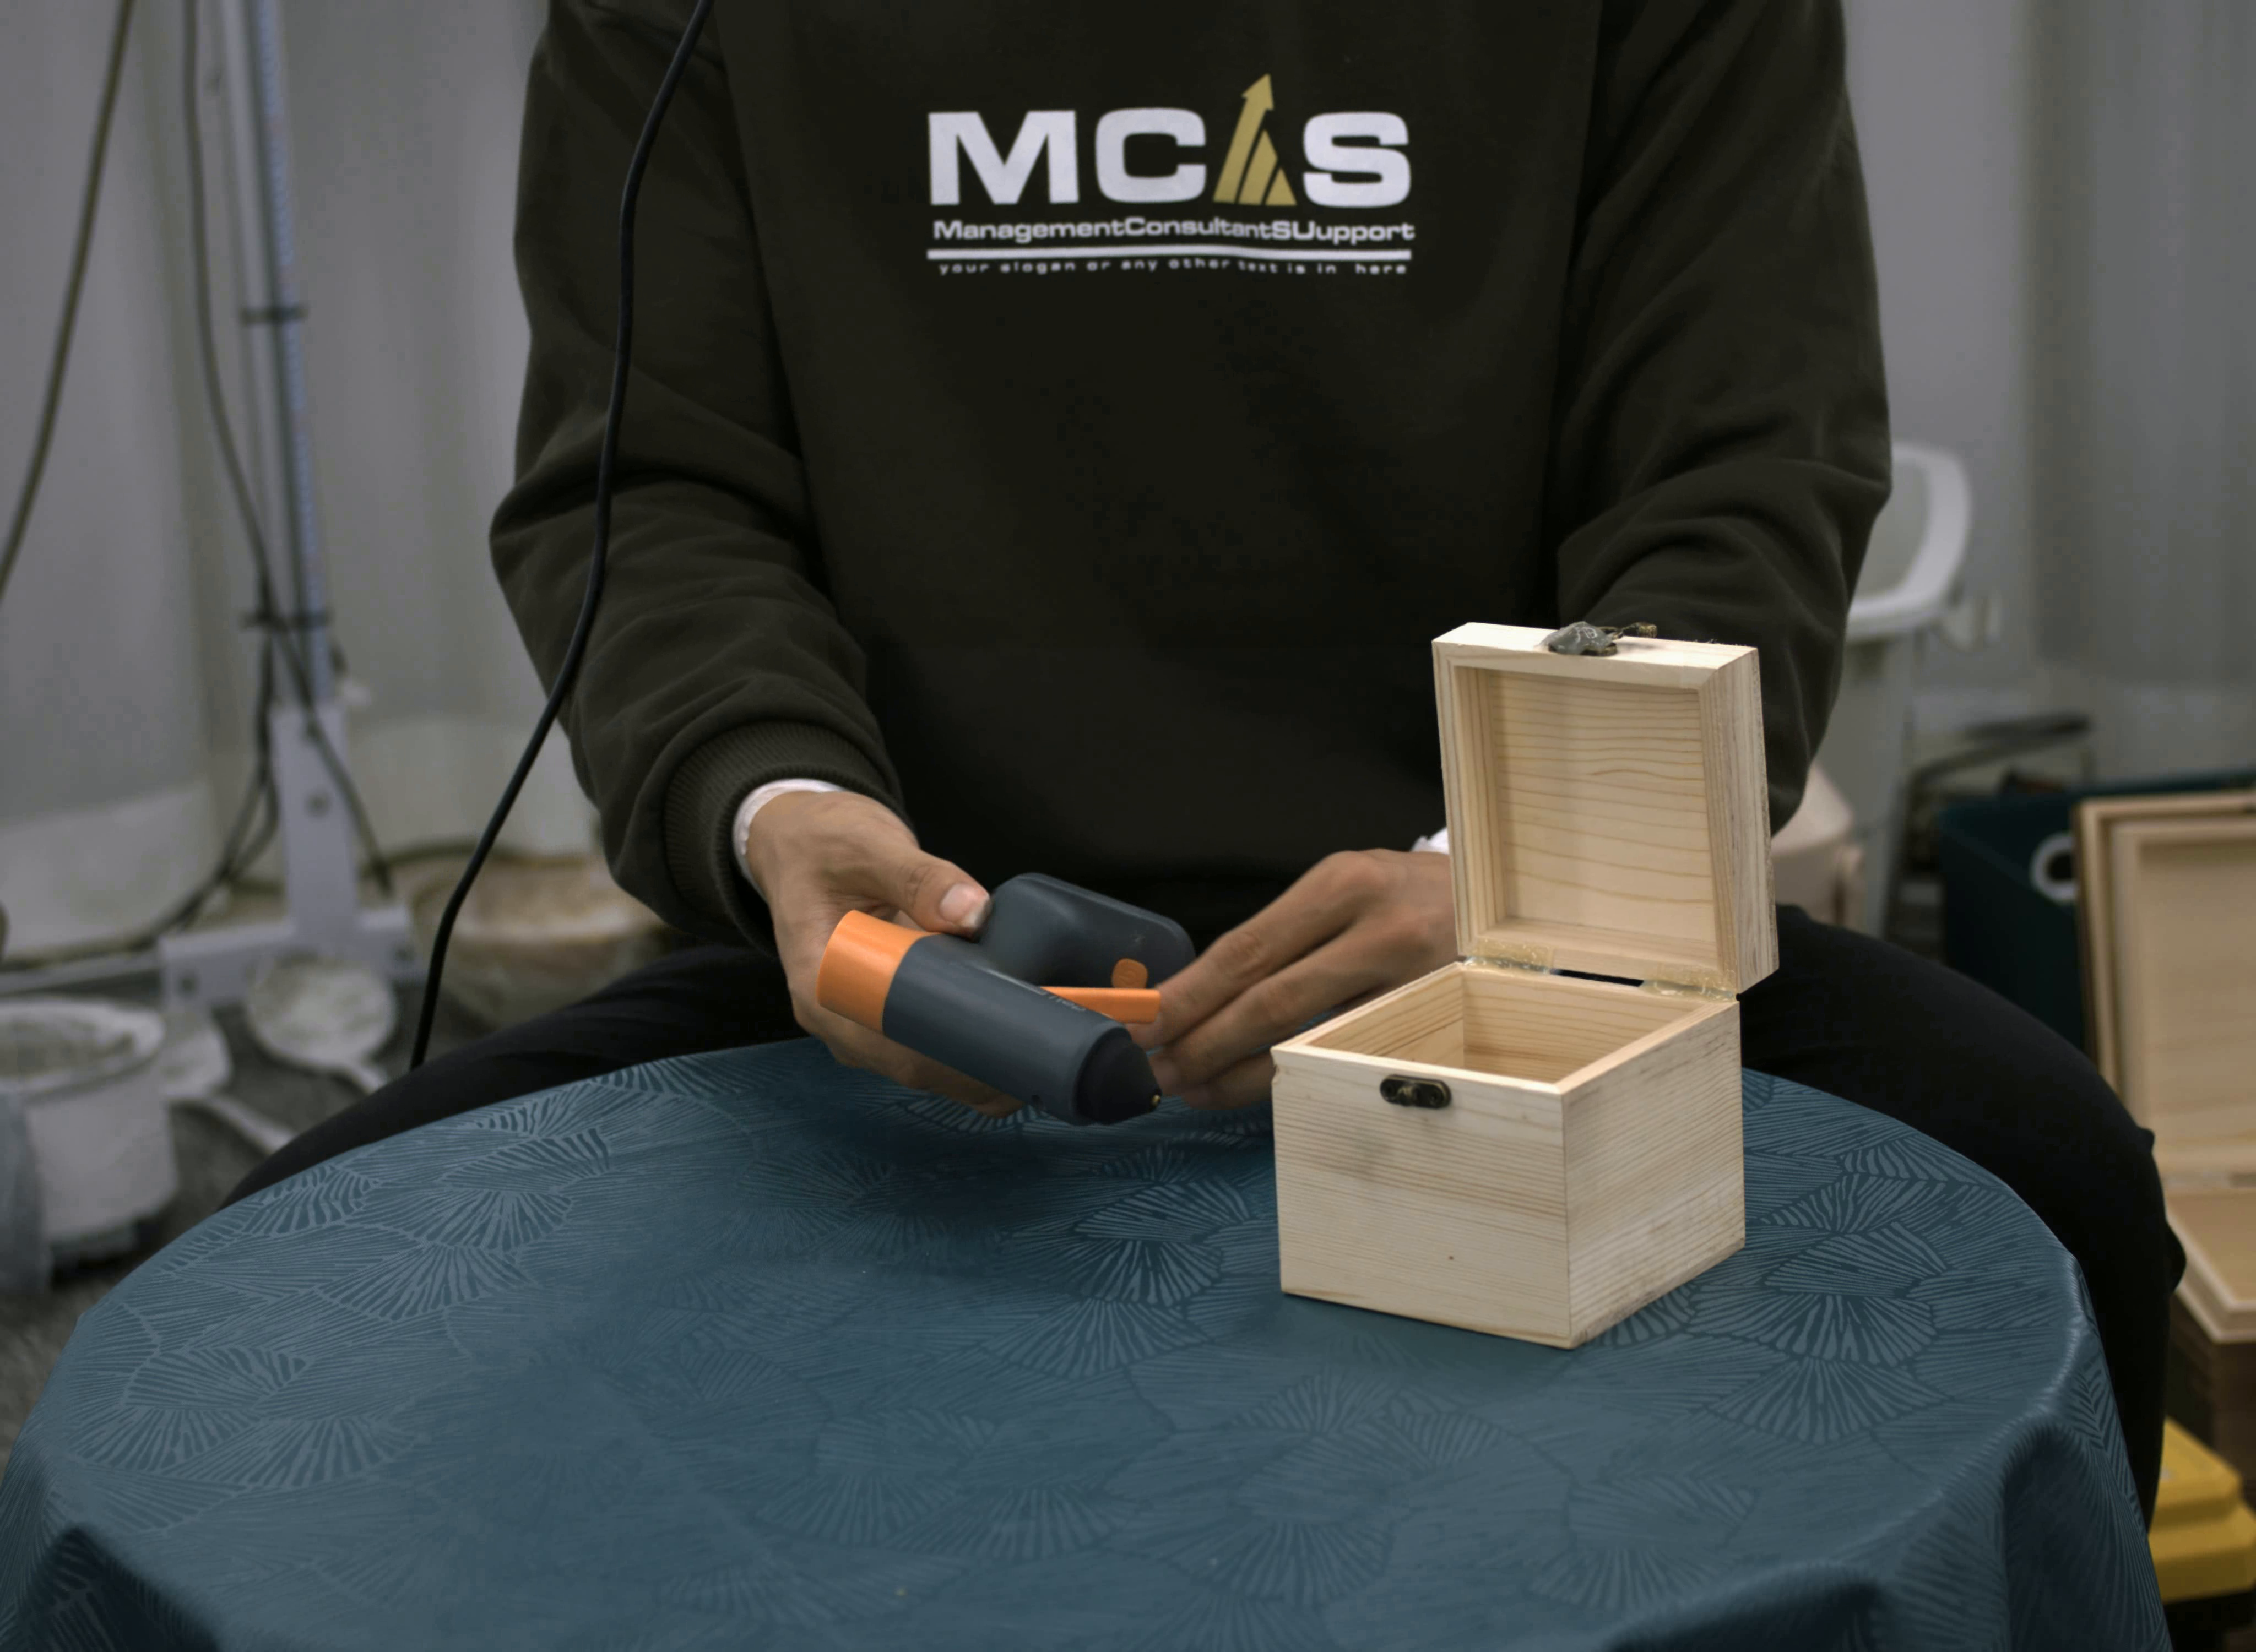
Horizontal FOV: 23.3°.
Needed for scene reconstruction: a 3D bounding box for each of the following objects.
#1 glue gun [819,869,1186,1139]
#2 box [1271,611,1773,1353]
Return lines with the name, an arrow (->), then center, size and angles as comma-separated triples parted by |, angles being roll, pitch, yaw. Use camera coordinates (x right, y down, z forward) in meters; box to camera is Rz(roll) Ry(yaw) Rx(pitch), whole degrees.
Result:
glue gun -> -0.028, 0.056, 1.707 | 0.118, 0.041, 0.140 | 24, 15, 11
box -> 0.115, 0.042, 1.610 | 0.103, 0.184, 0.134 | 8, 18, 34
